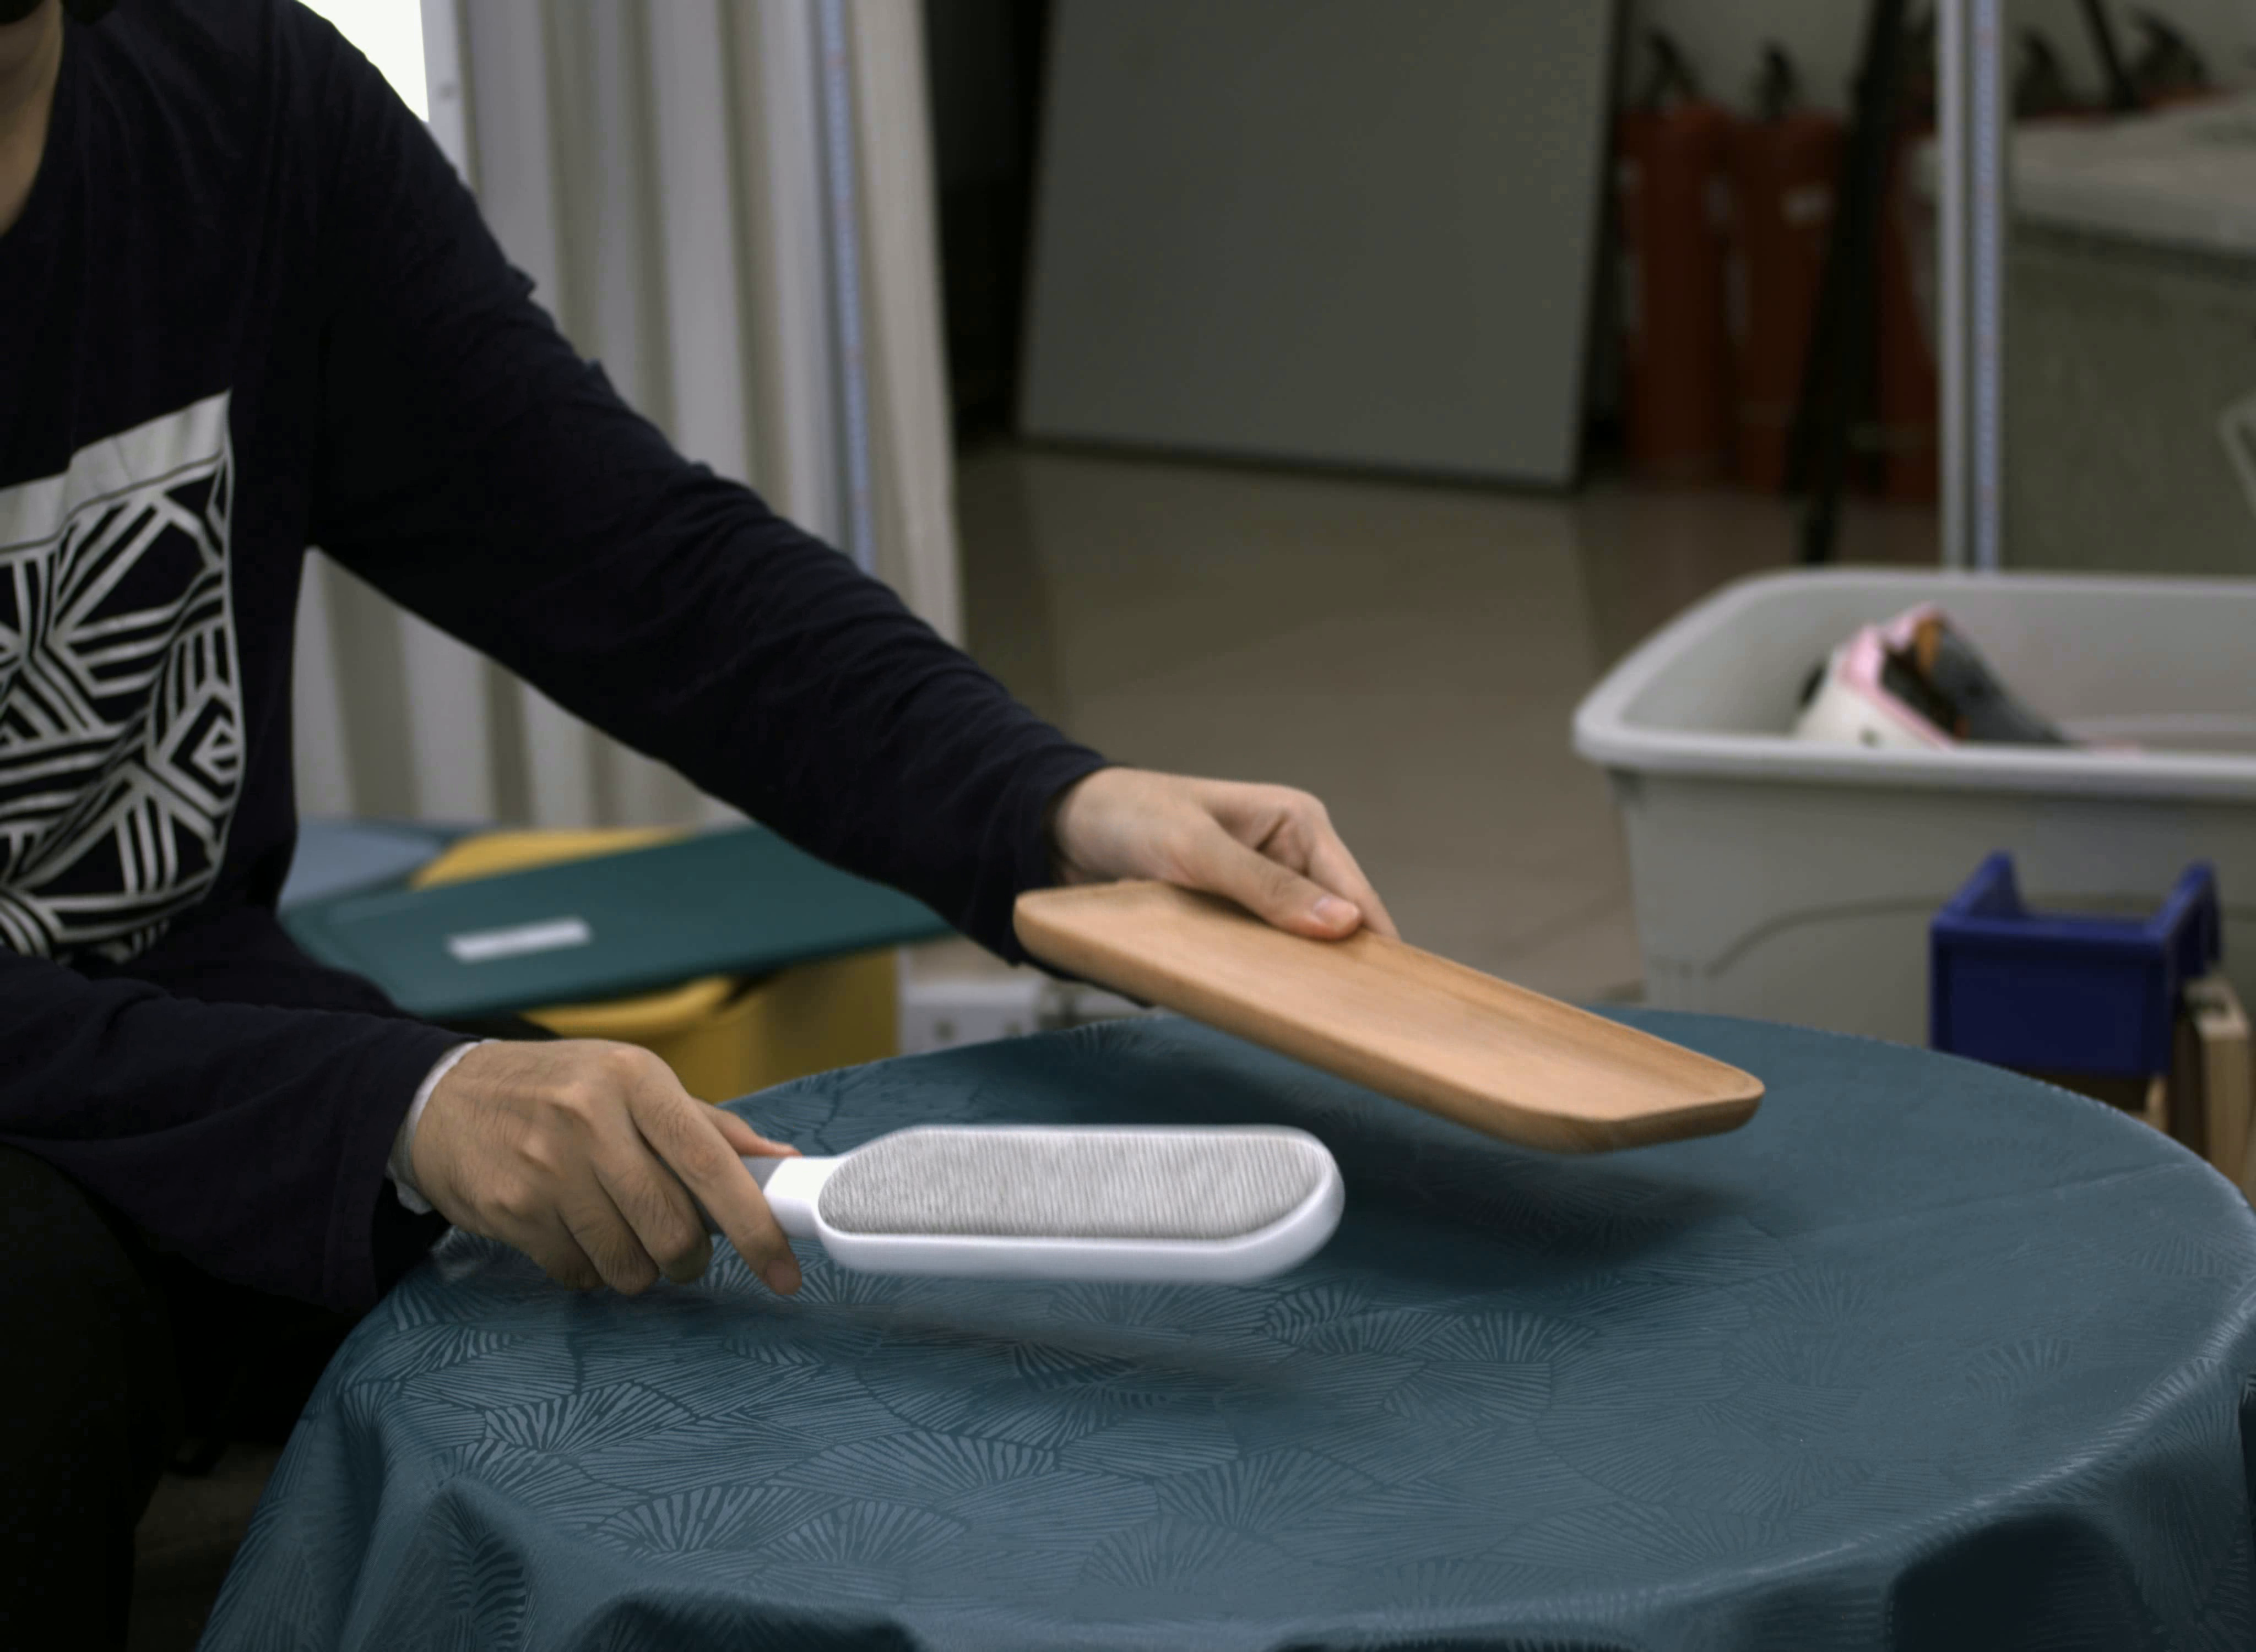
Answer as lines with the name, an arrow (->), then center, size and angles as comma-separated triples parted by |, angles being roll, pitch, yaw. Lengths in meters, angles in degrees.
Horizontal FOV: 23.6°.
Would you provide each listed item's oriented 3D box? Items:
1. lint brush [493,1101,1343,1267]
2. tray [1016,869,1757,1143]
lint brush -> -0.070, 0.109, 1.648 | 0.310, 0.021, 0.060 | -3, 41, 33
tray -> 0.081, 0.057, 1.758 | 0.127, 0.023, 0.253 | 2, 14, -46
